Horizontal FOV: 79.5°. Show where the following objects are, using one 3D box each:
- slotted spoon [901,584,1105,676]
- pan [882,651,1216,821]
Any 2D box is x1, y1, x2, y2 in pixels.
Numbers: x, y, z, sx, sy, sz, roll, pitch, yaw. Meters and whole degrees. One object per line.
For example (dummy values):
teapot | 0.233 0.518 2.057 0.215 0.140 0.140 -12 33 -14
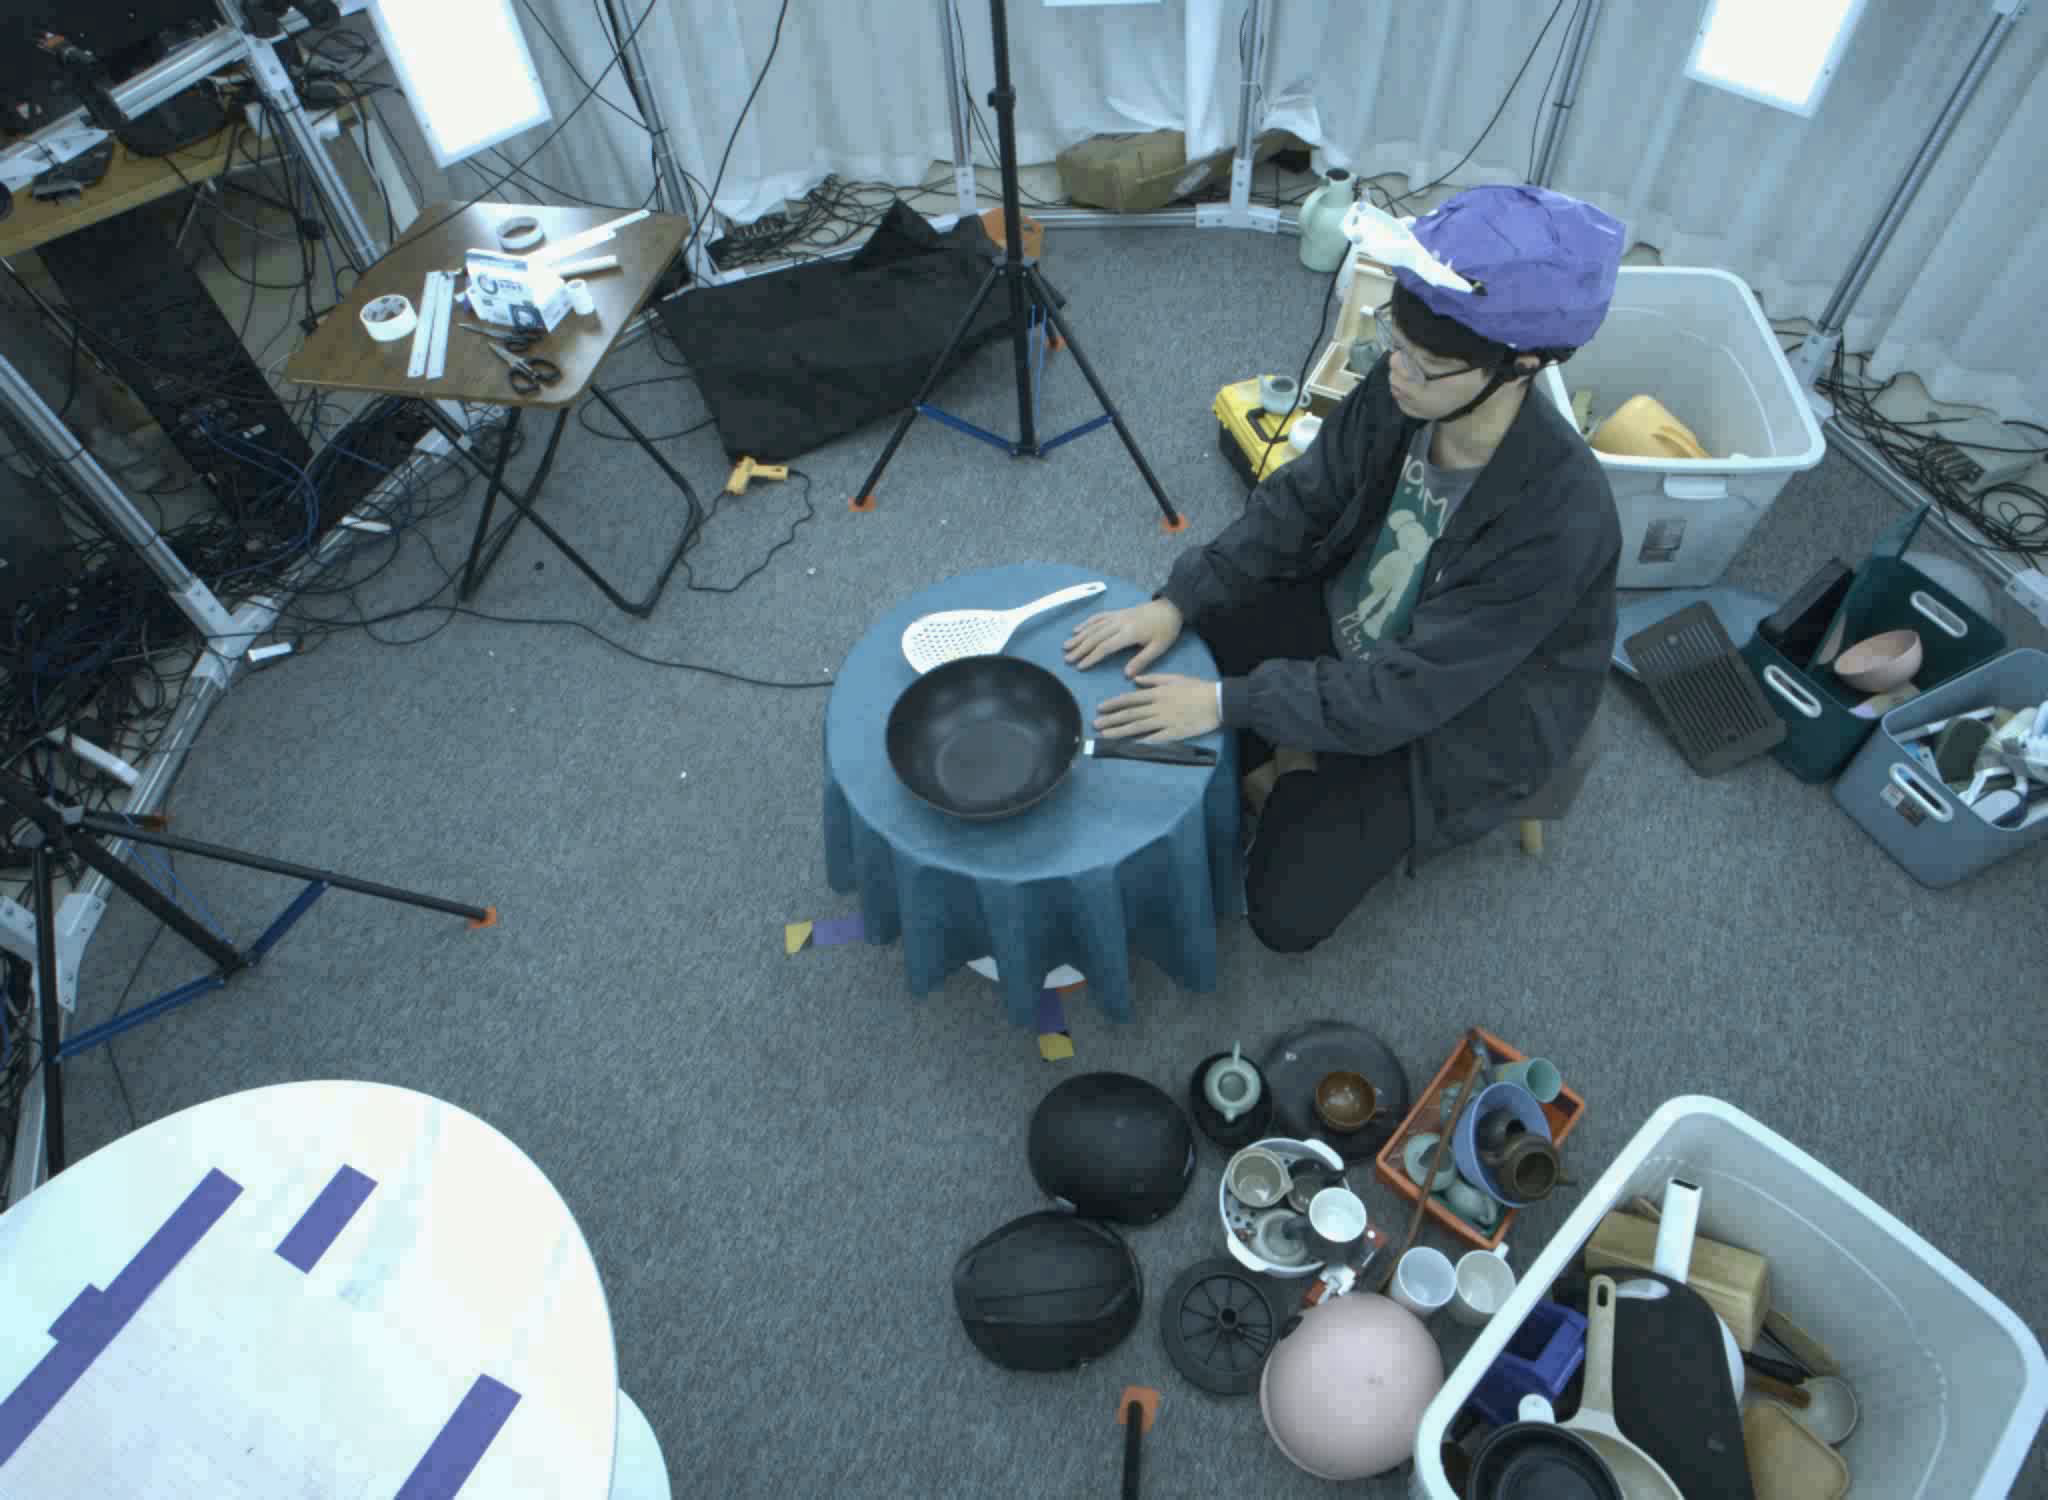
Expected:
slotted spoon | -0.022 -0.197 1.895 0.351 0.051 0.134 -26 56 -16
pan | 0.034 0.004 1.724 0.461 0.088 0.286 7 55 6
